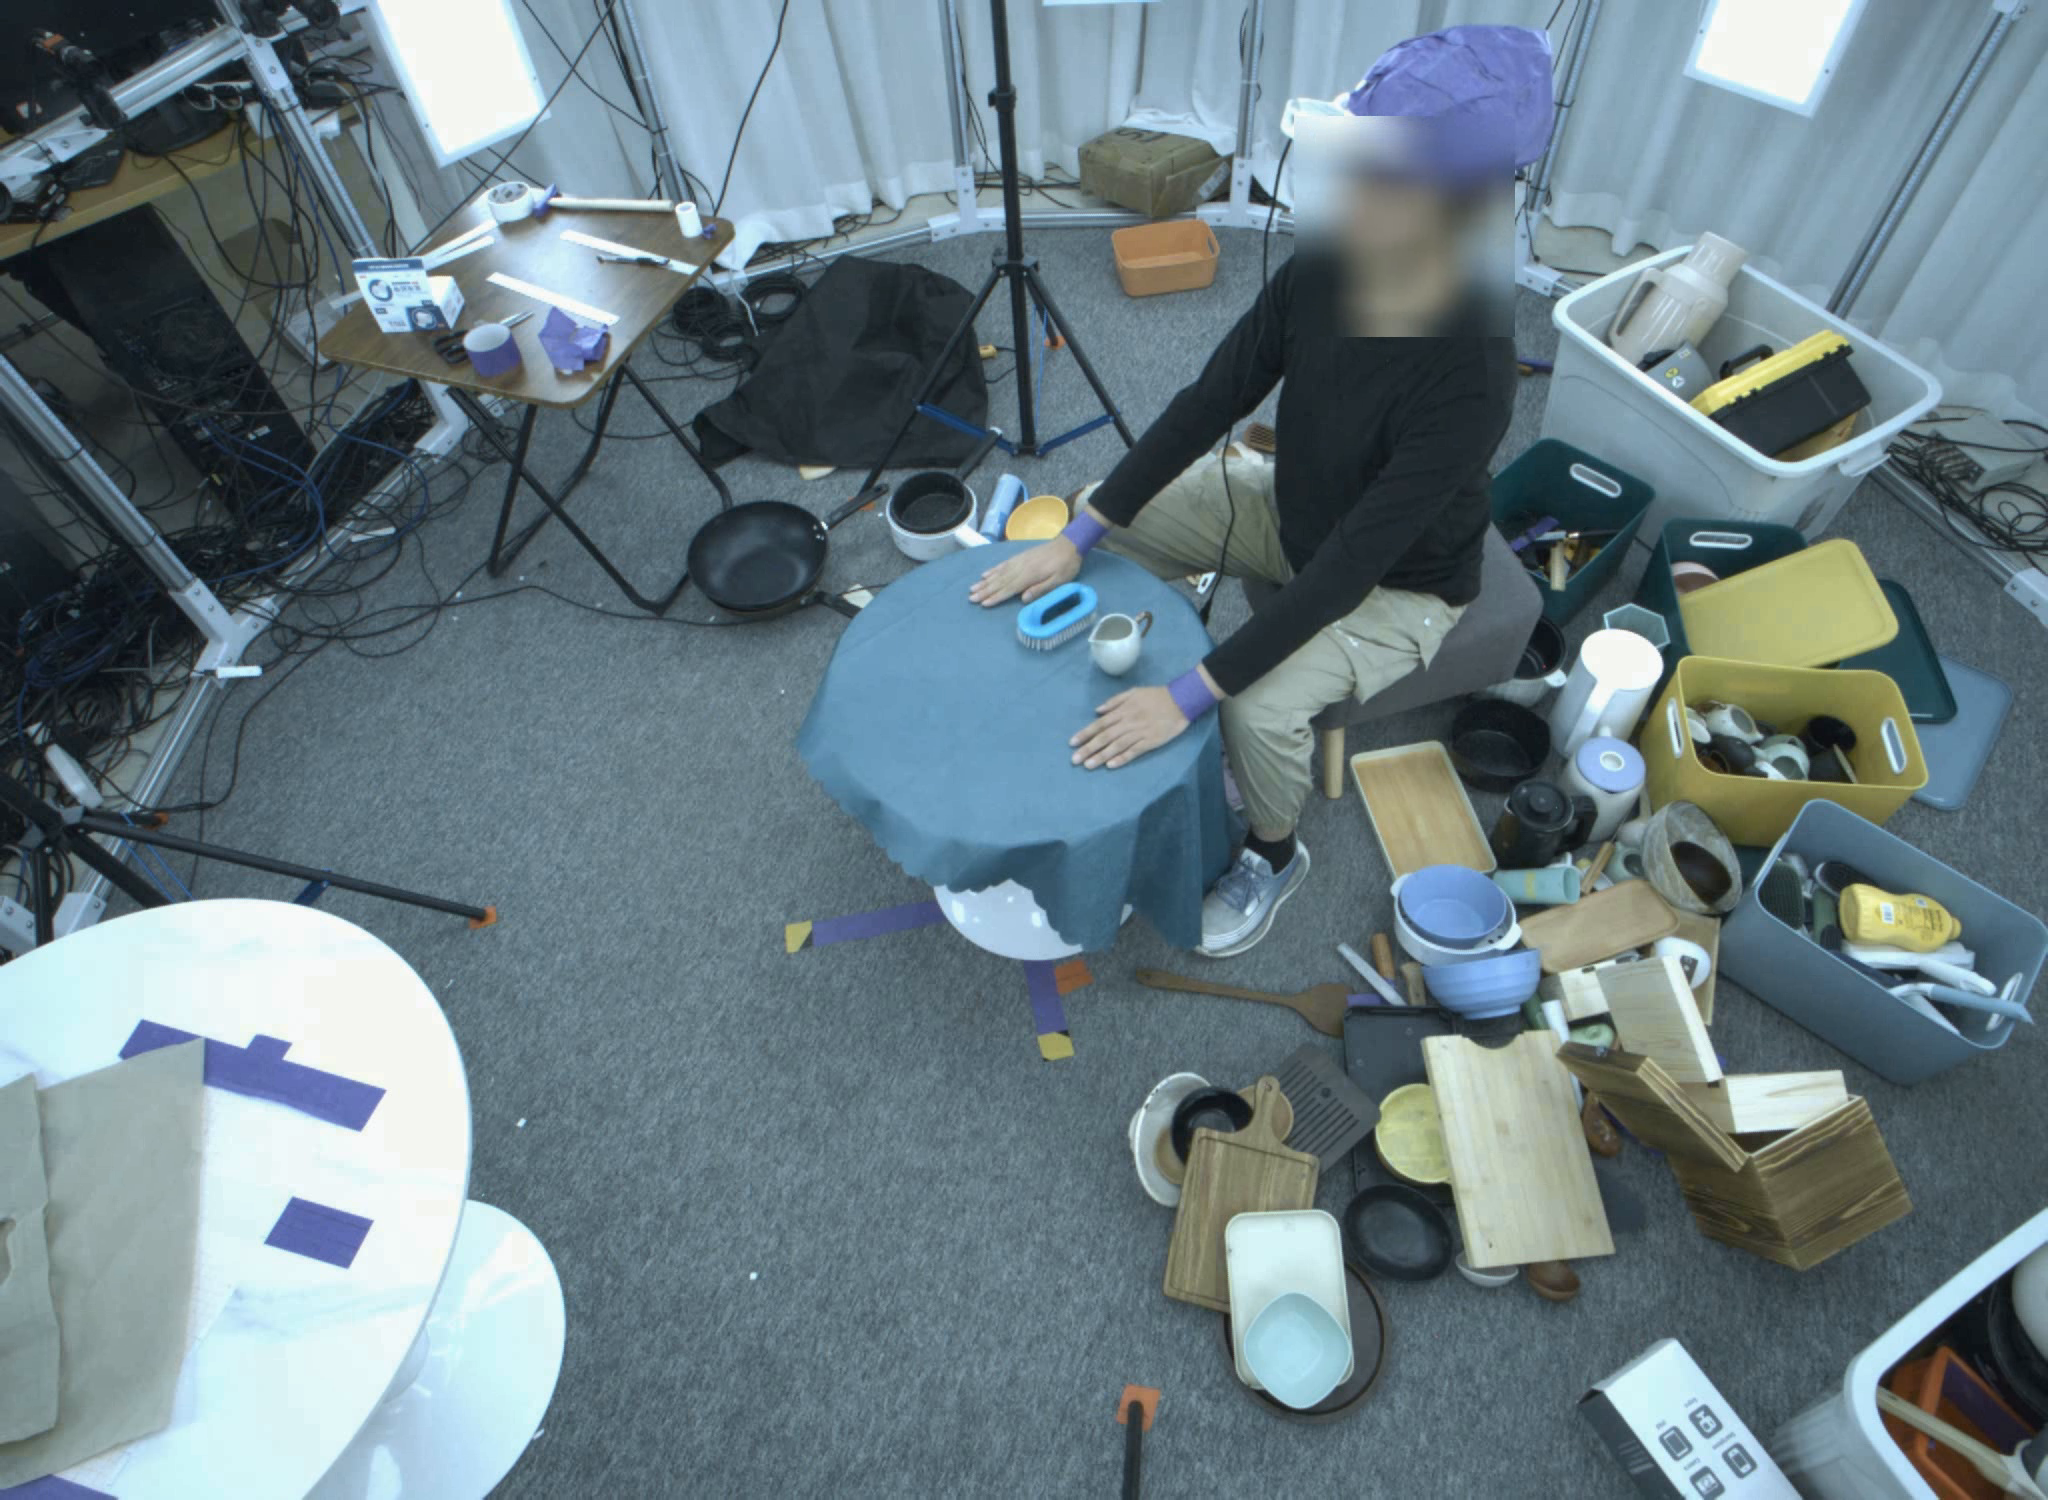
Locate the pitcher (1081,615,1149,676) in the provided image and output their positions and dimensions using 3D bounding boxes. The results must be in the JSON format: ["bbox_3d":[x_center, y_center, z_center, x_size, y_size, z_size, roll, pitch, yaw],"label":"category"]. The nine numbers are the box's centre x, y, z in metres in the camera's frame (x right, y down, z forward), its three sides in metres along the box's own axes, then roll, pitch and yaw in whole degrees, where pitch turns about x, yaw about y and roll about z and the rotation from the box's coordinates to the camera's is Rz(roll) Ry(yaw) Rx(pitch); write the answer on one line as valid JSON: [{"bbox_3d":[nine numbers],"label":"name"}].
[{"bbox_3d":[0.136,-0.157,1.843,0.120,0.089,0.074,-29,63,-13],"label":"pitcher"}]

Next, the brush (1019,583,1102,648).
[{"bbox_3d":[0.053,-0.220,1.903,0.143,0.064,0.082,-31,54,-19],"label":"brush"}]
